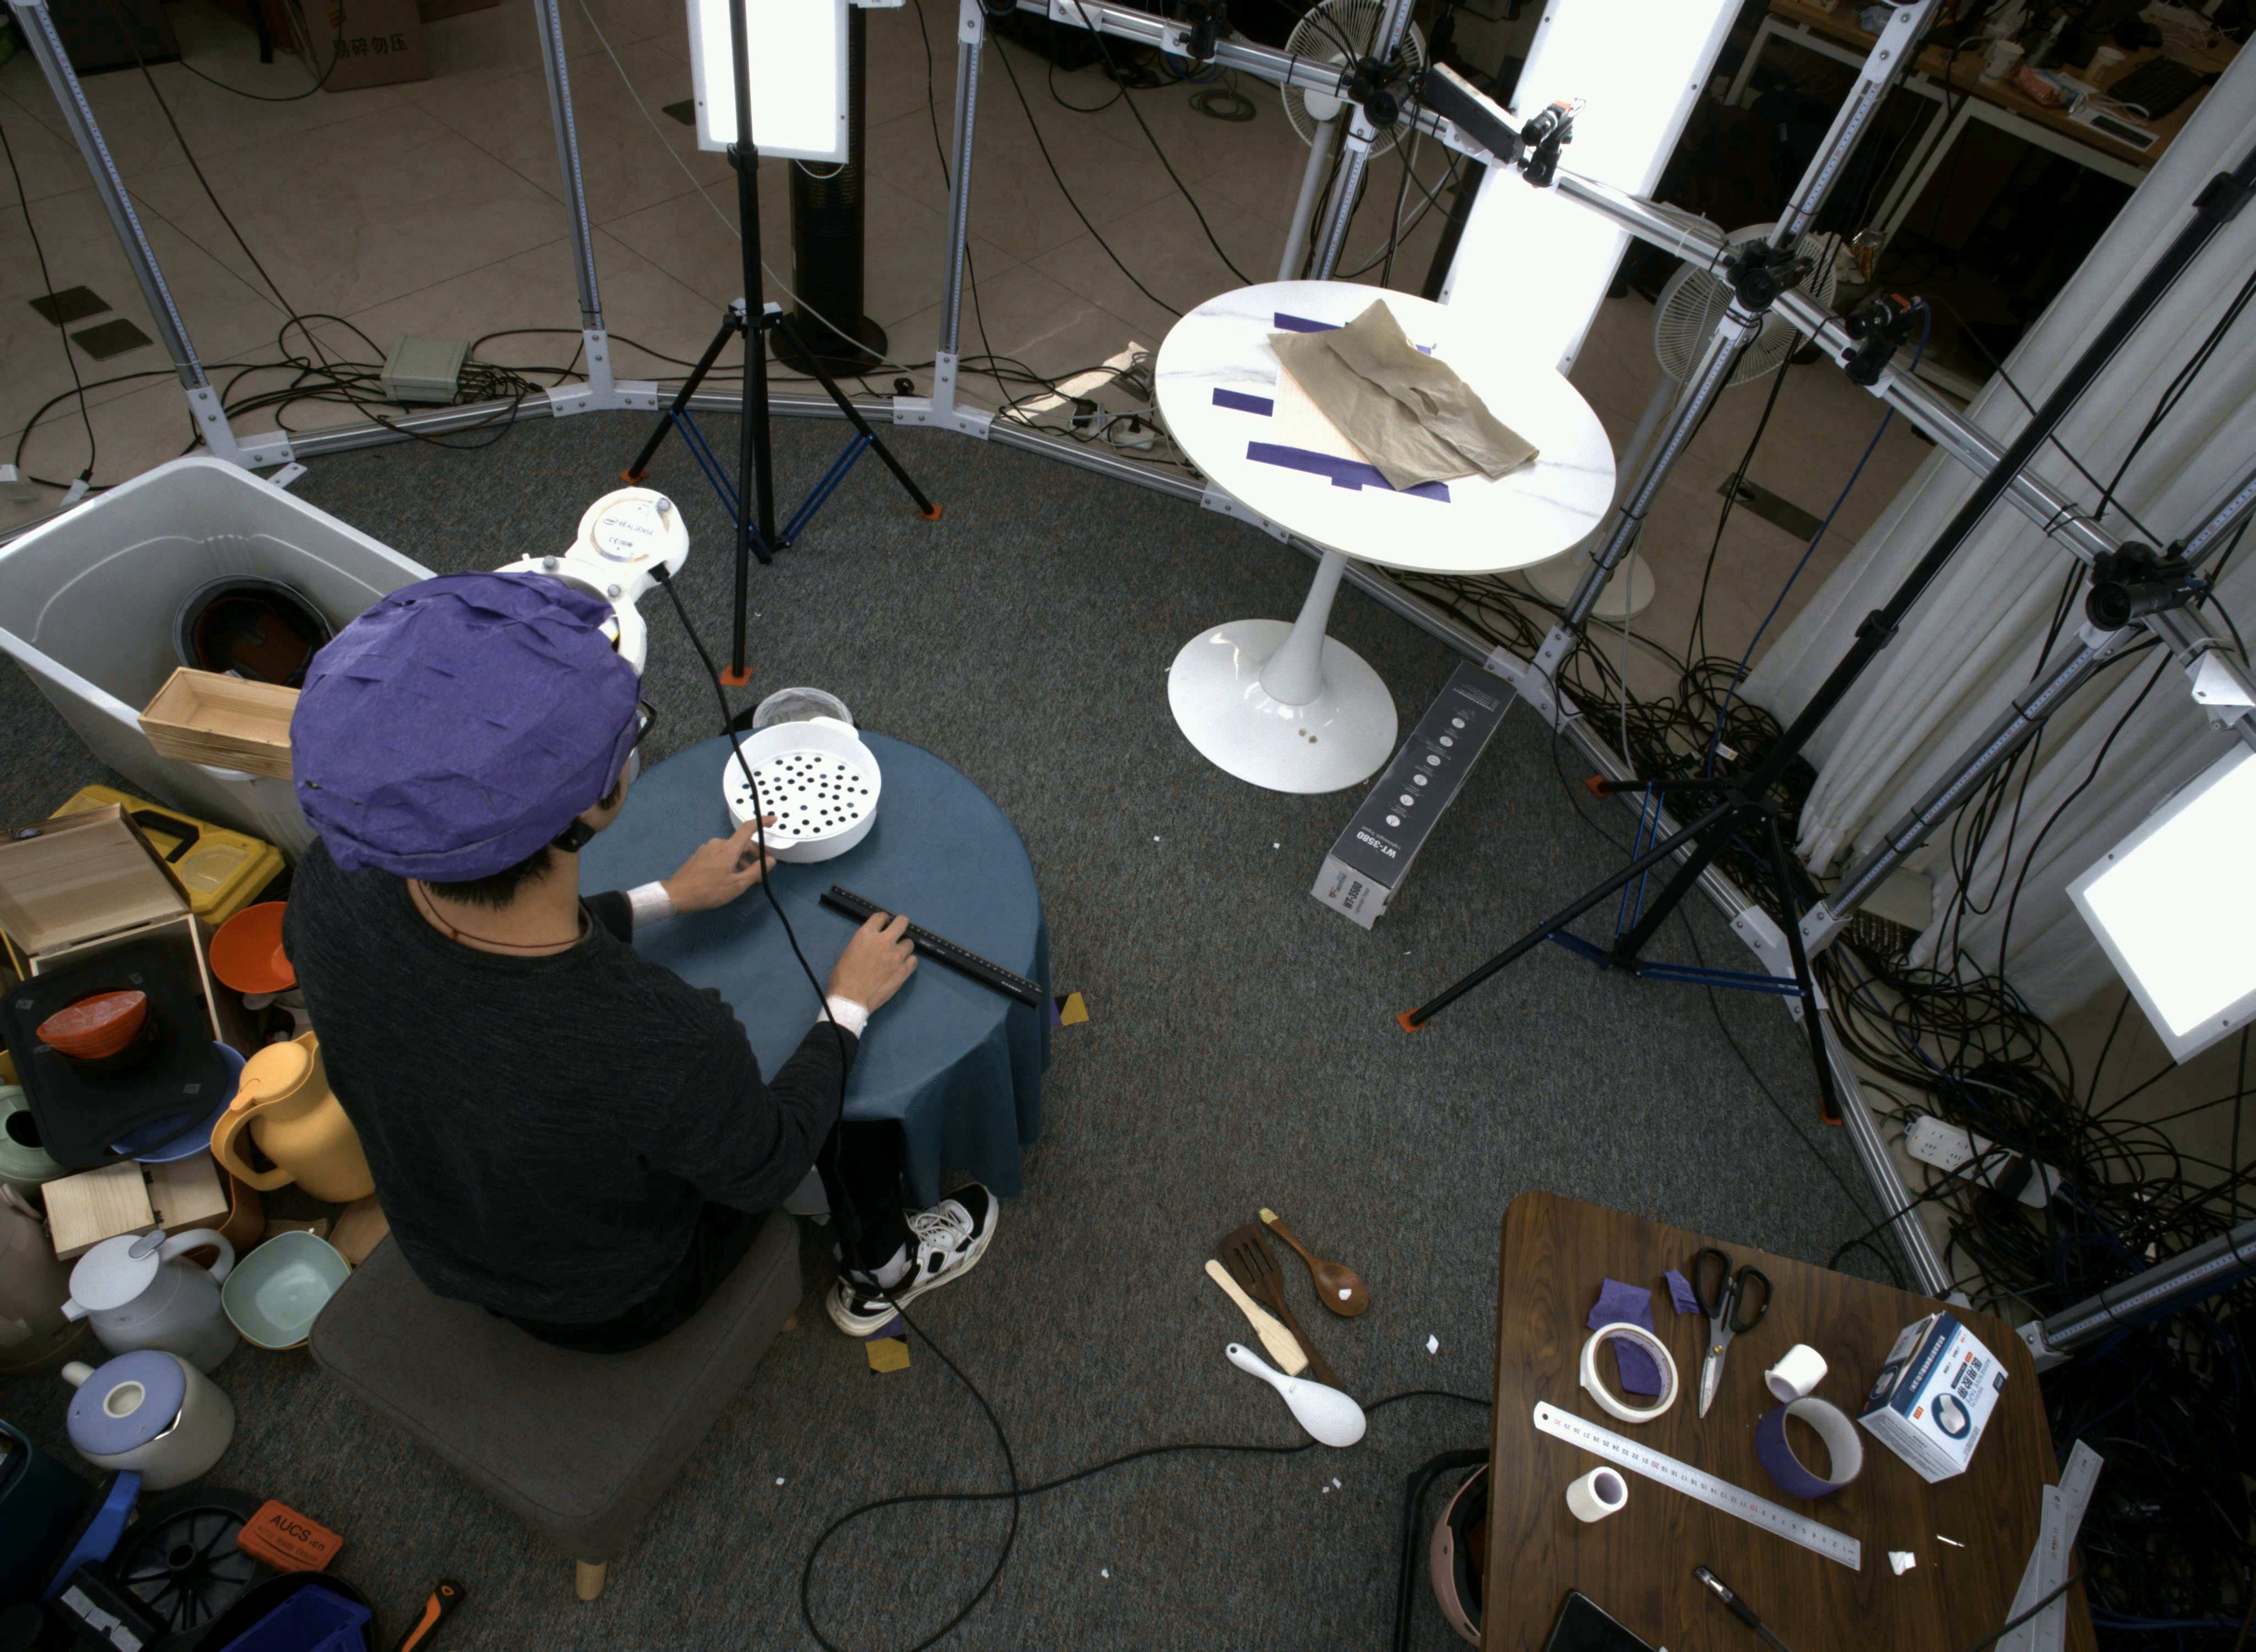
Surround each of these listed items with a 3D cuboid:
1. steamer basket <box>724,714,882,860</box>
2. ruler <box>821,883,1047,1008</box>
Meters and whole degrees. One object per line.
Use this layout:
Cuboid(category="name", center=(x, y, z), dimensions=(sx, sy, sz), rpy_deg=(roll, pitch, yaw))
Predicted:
Cuboid(category="steamer basket", center=(-0.428, -0.048, 1.710), dimensions=(0.200, 0.070, 0.228), rpy_deg=(19, 49, 0))
Cuboid(category="ruler", center=(-0.246, 0.144, 1.647), dimensions=(0.308, 0.017, 0.039), rpy_deg=(25, 50, 5))
